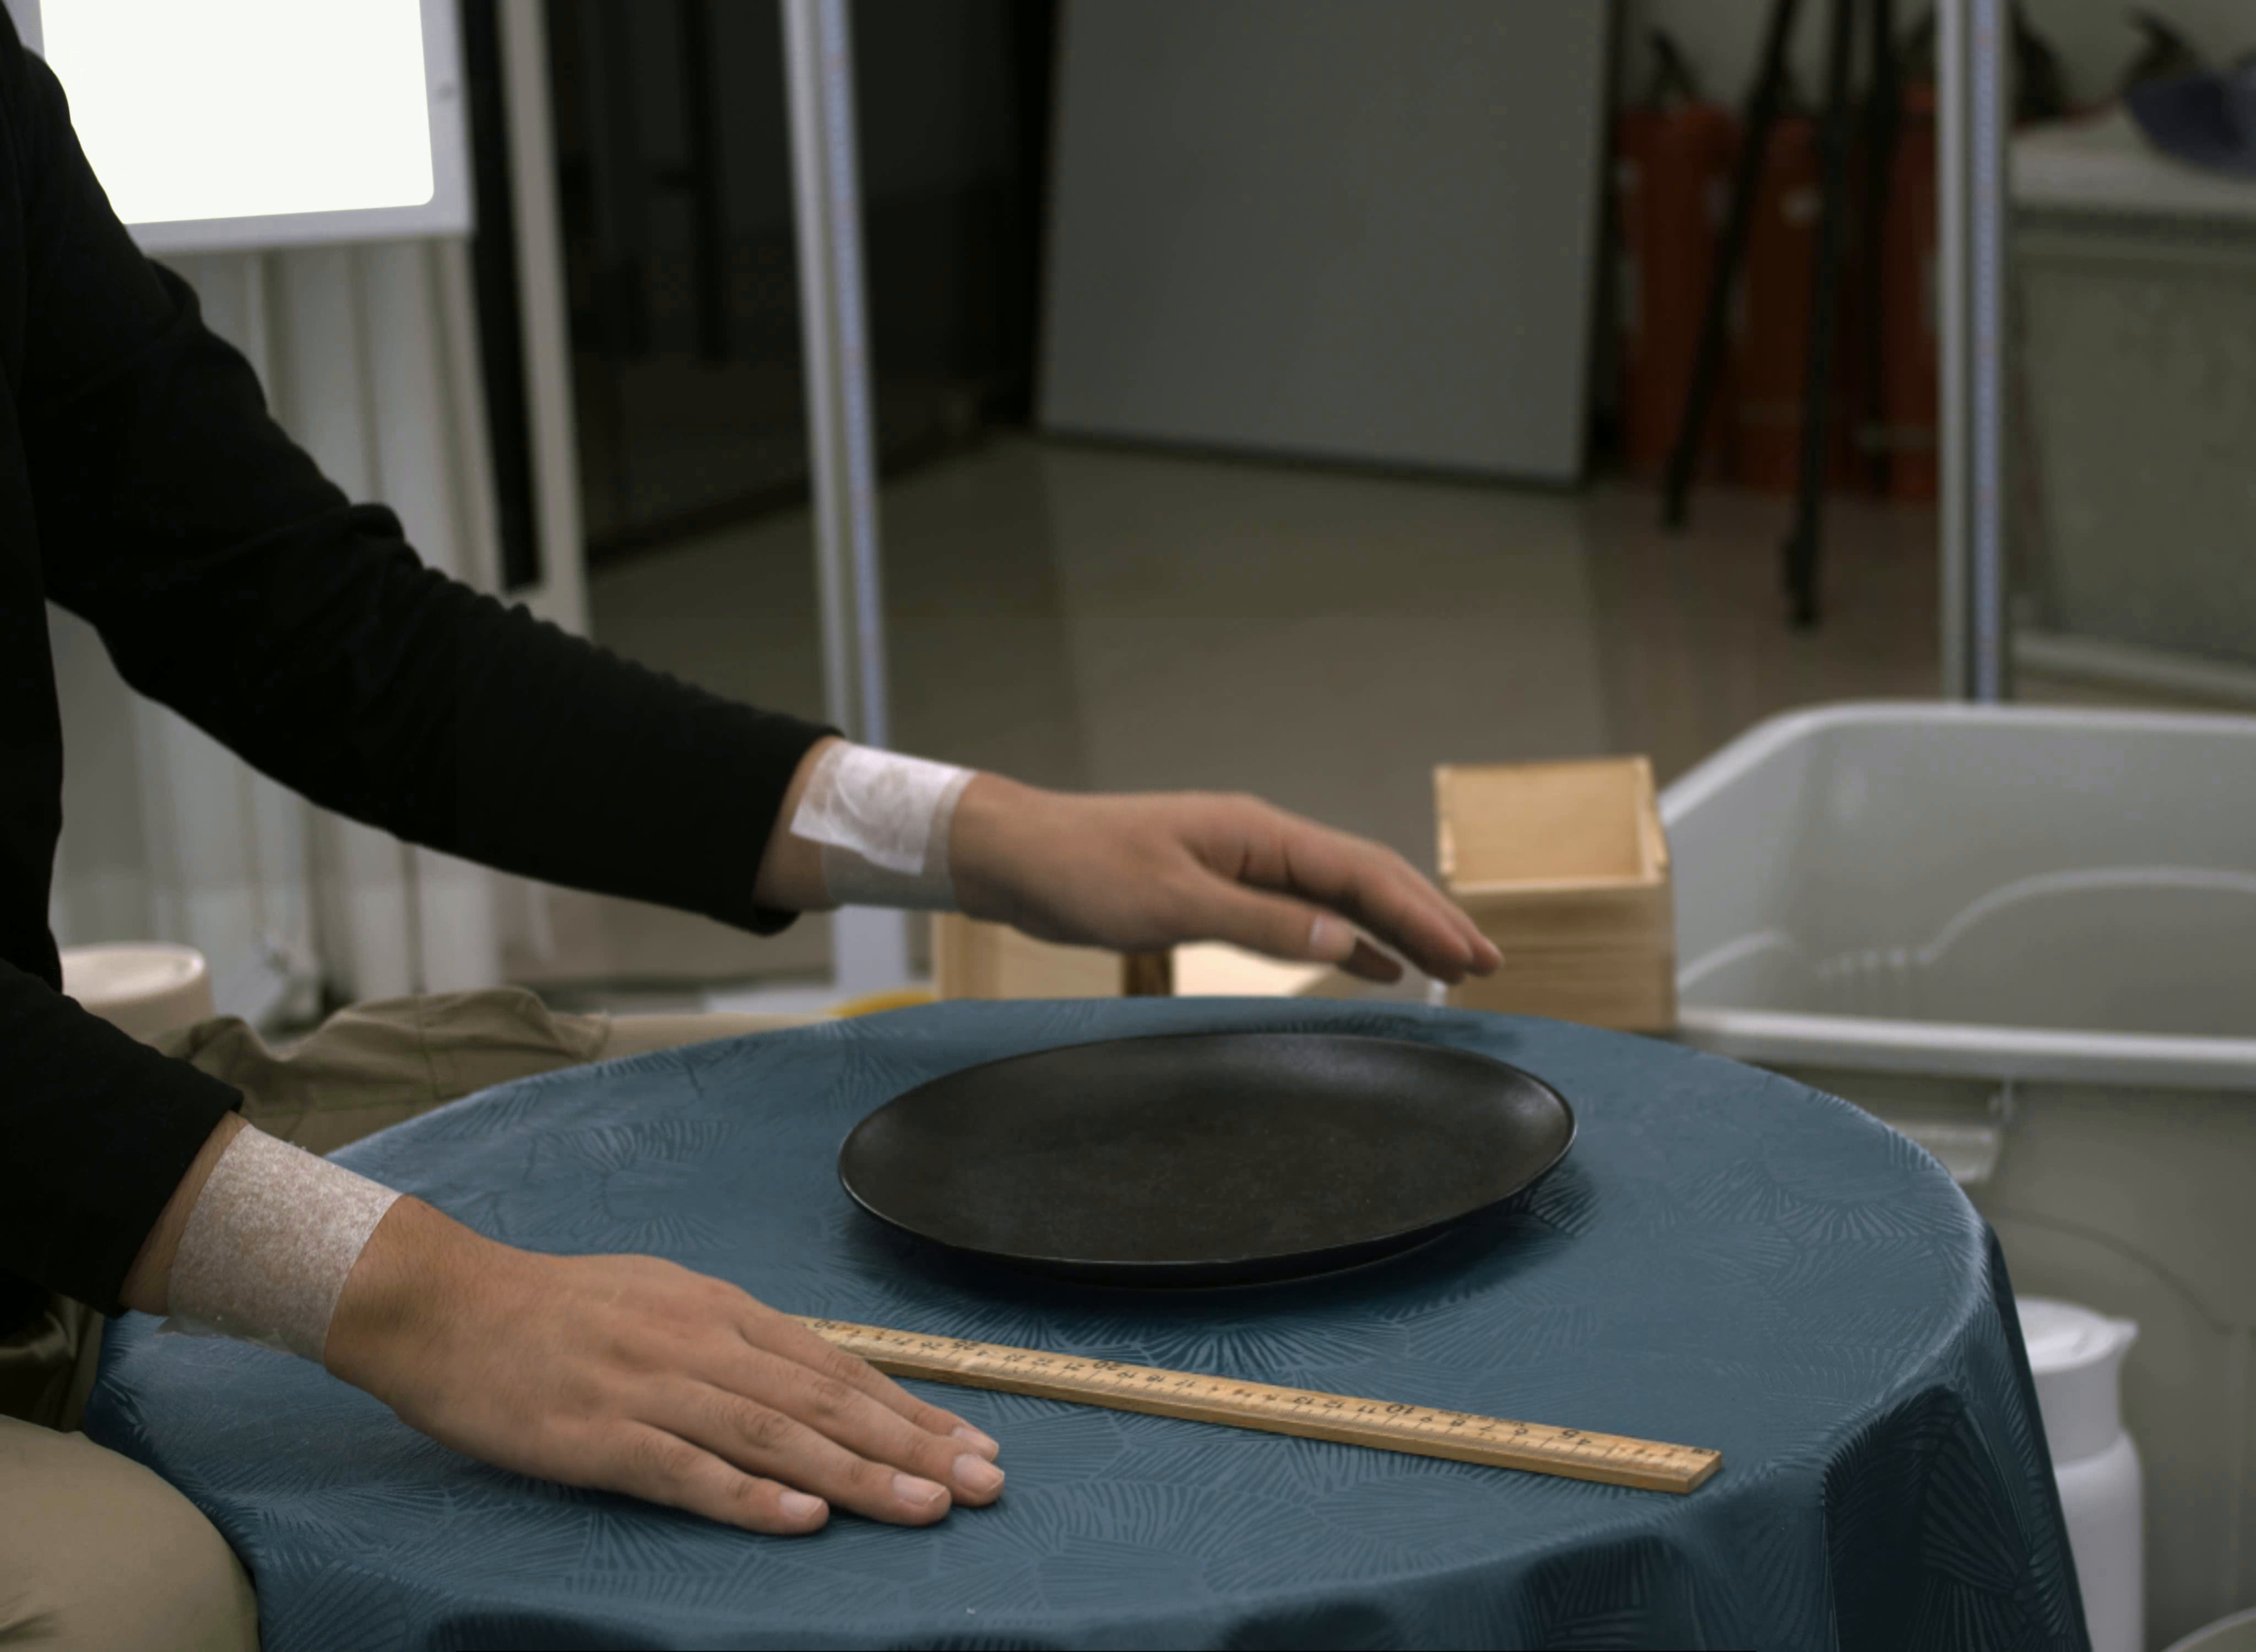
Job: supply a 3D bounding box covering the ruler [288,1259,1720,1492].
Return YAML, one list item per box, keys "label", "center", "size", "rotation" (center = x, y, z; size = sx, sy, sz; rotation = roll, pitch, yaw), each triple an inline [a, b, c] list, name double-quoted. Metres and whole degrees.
- label: "ruler"
  center: [-0.052, 0.161, 1.613]
  size: [0.503, 0.006, 0.026]
  rotation: [5, 15, 32]

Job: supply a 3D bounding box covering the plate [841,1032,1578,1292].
- label: "plate"
  center: [0.027, 0.111, 1.752]
  size: [0.241, 0.024, 0.245]
  rotation: [-5, 14, 0]
